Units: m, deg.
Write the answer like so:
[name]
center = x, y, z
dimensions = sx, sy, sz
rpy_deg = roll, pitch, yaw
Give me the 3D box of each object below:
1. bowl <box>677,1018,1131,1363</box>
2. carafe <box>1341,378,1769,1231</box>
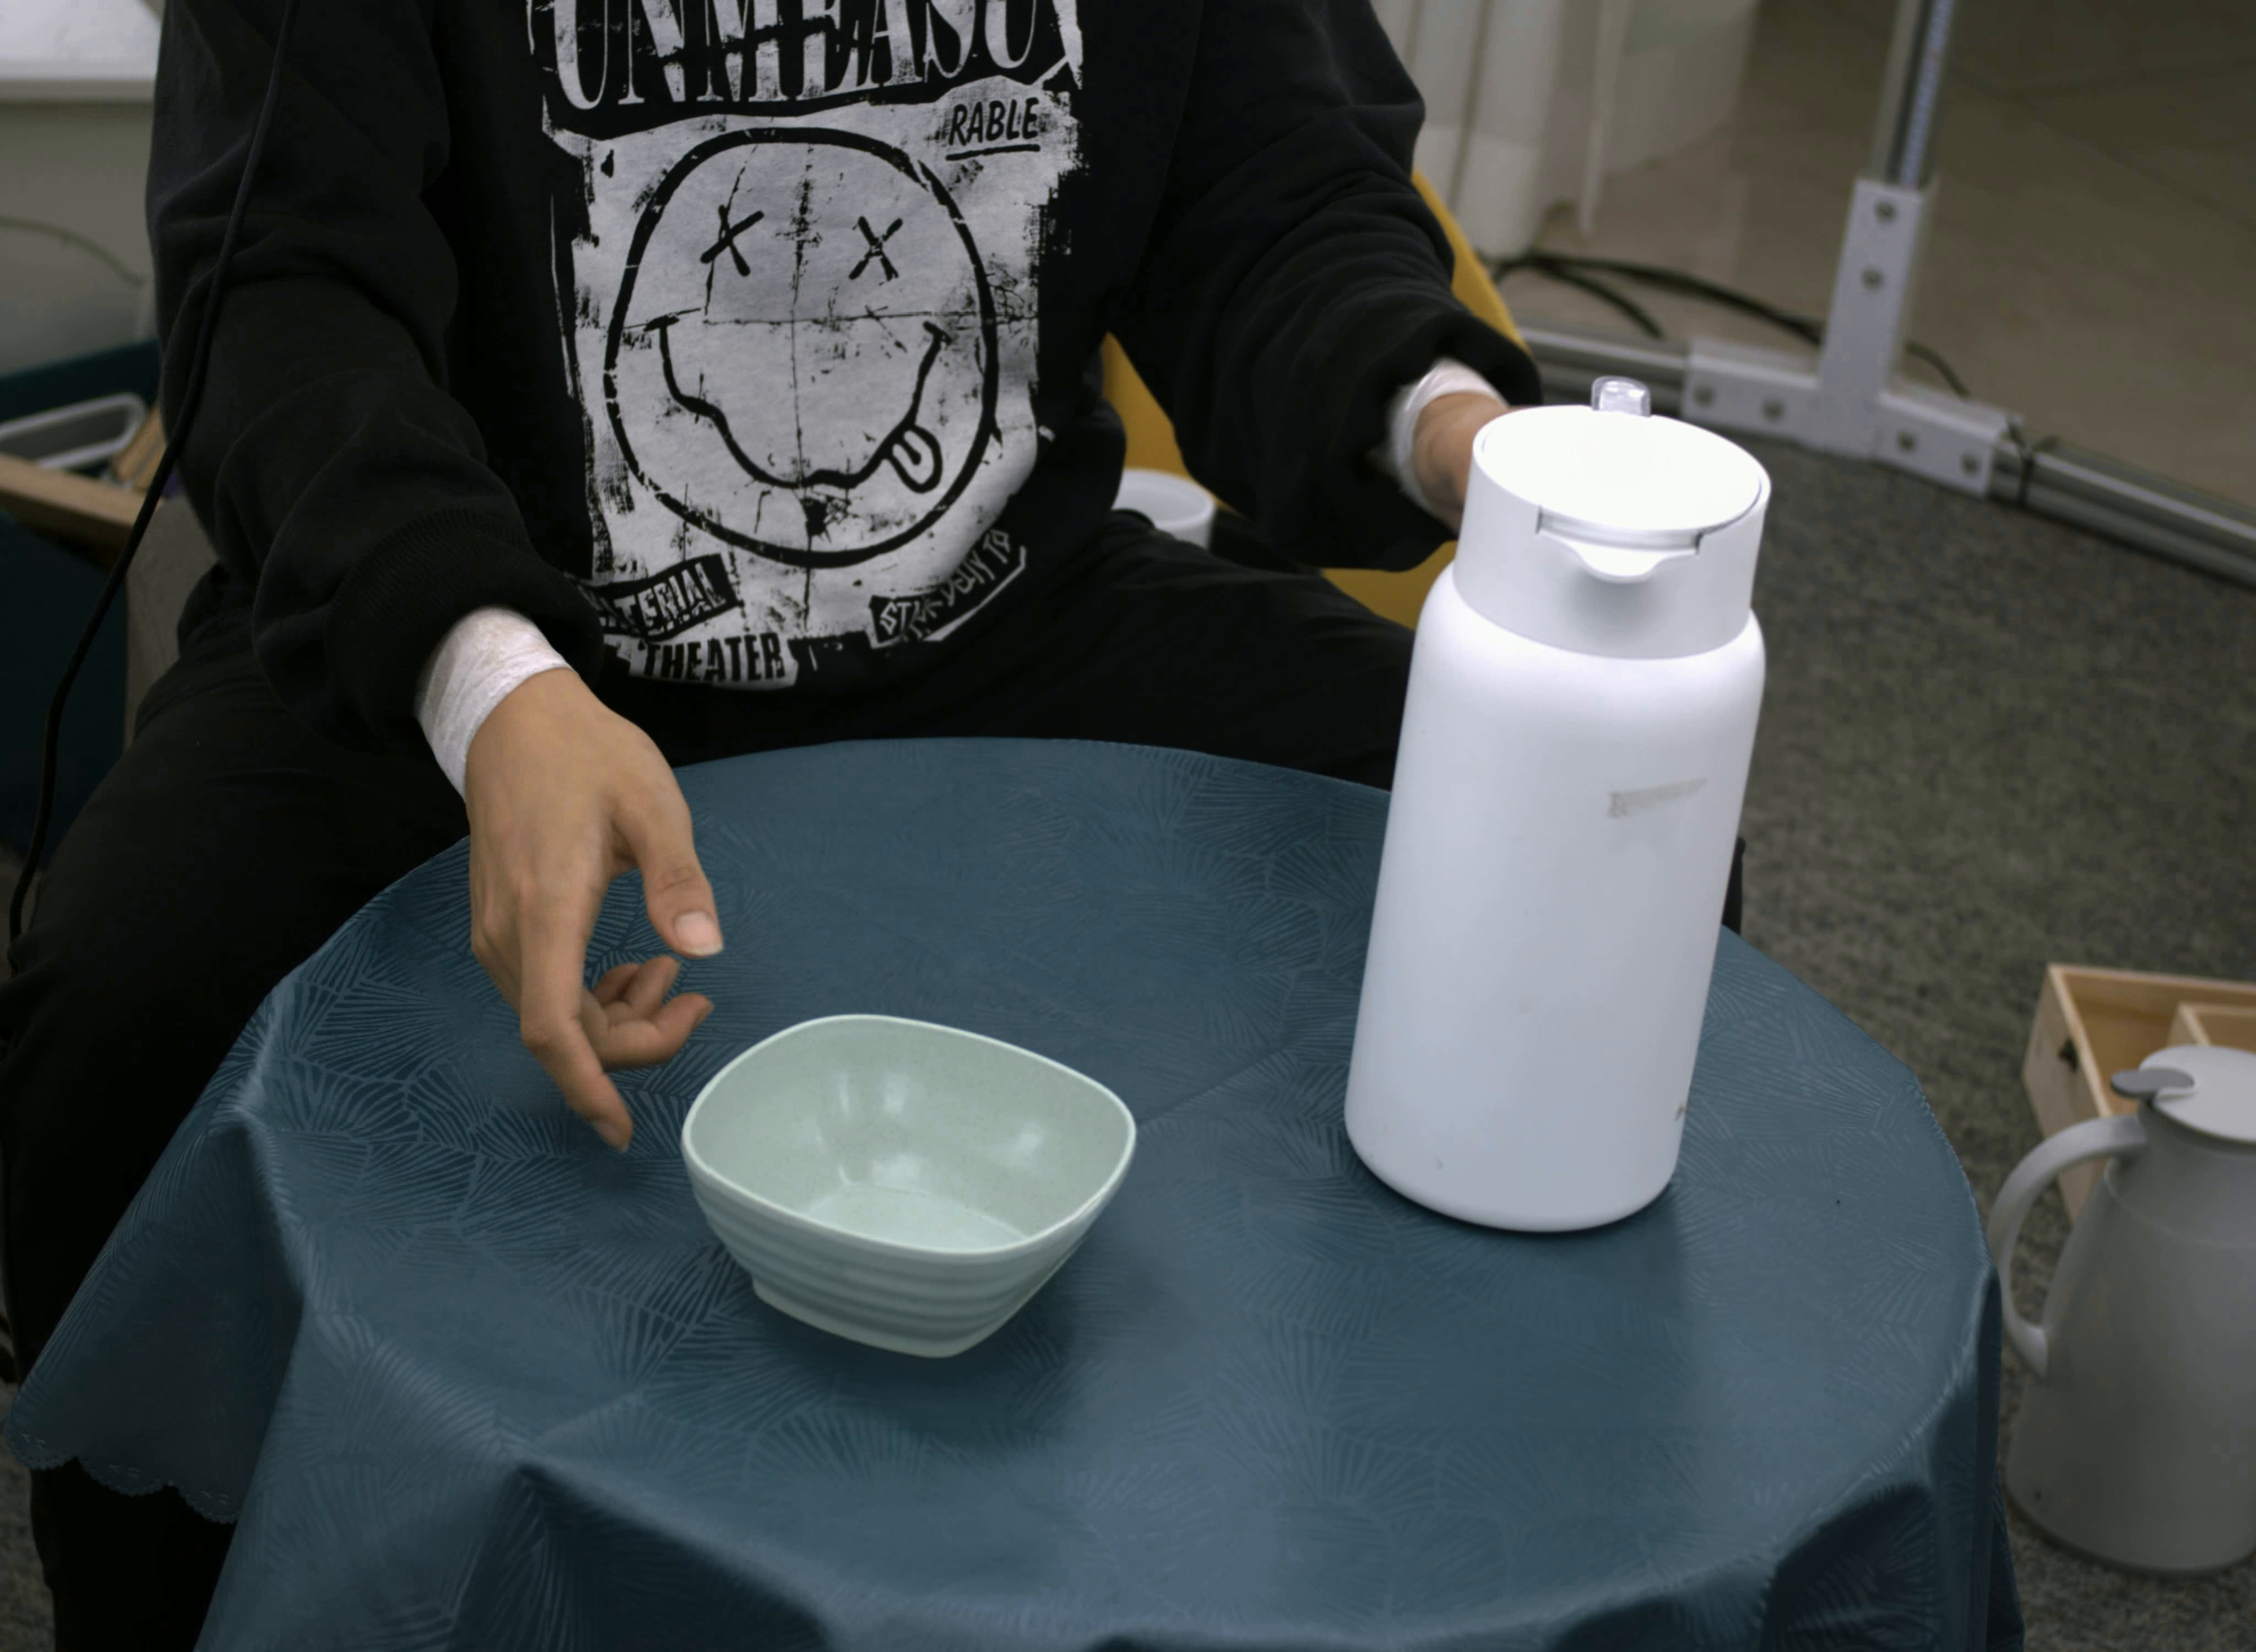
[bowl]
center = -0.075, 0.124, 1.730
dimensions = 0.151, 0.058, 0.152
rpy_deg = 5, 27, -3
[carafe]
center = 0.145, -0.011, 1.809
dimensions = 0.123, 0.268, 0.174
rpy_deg = 5, 27, 1
